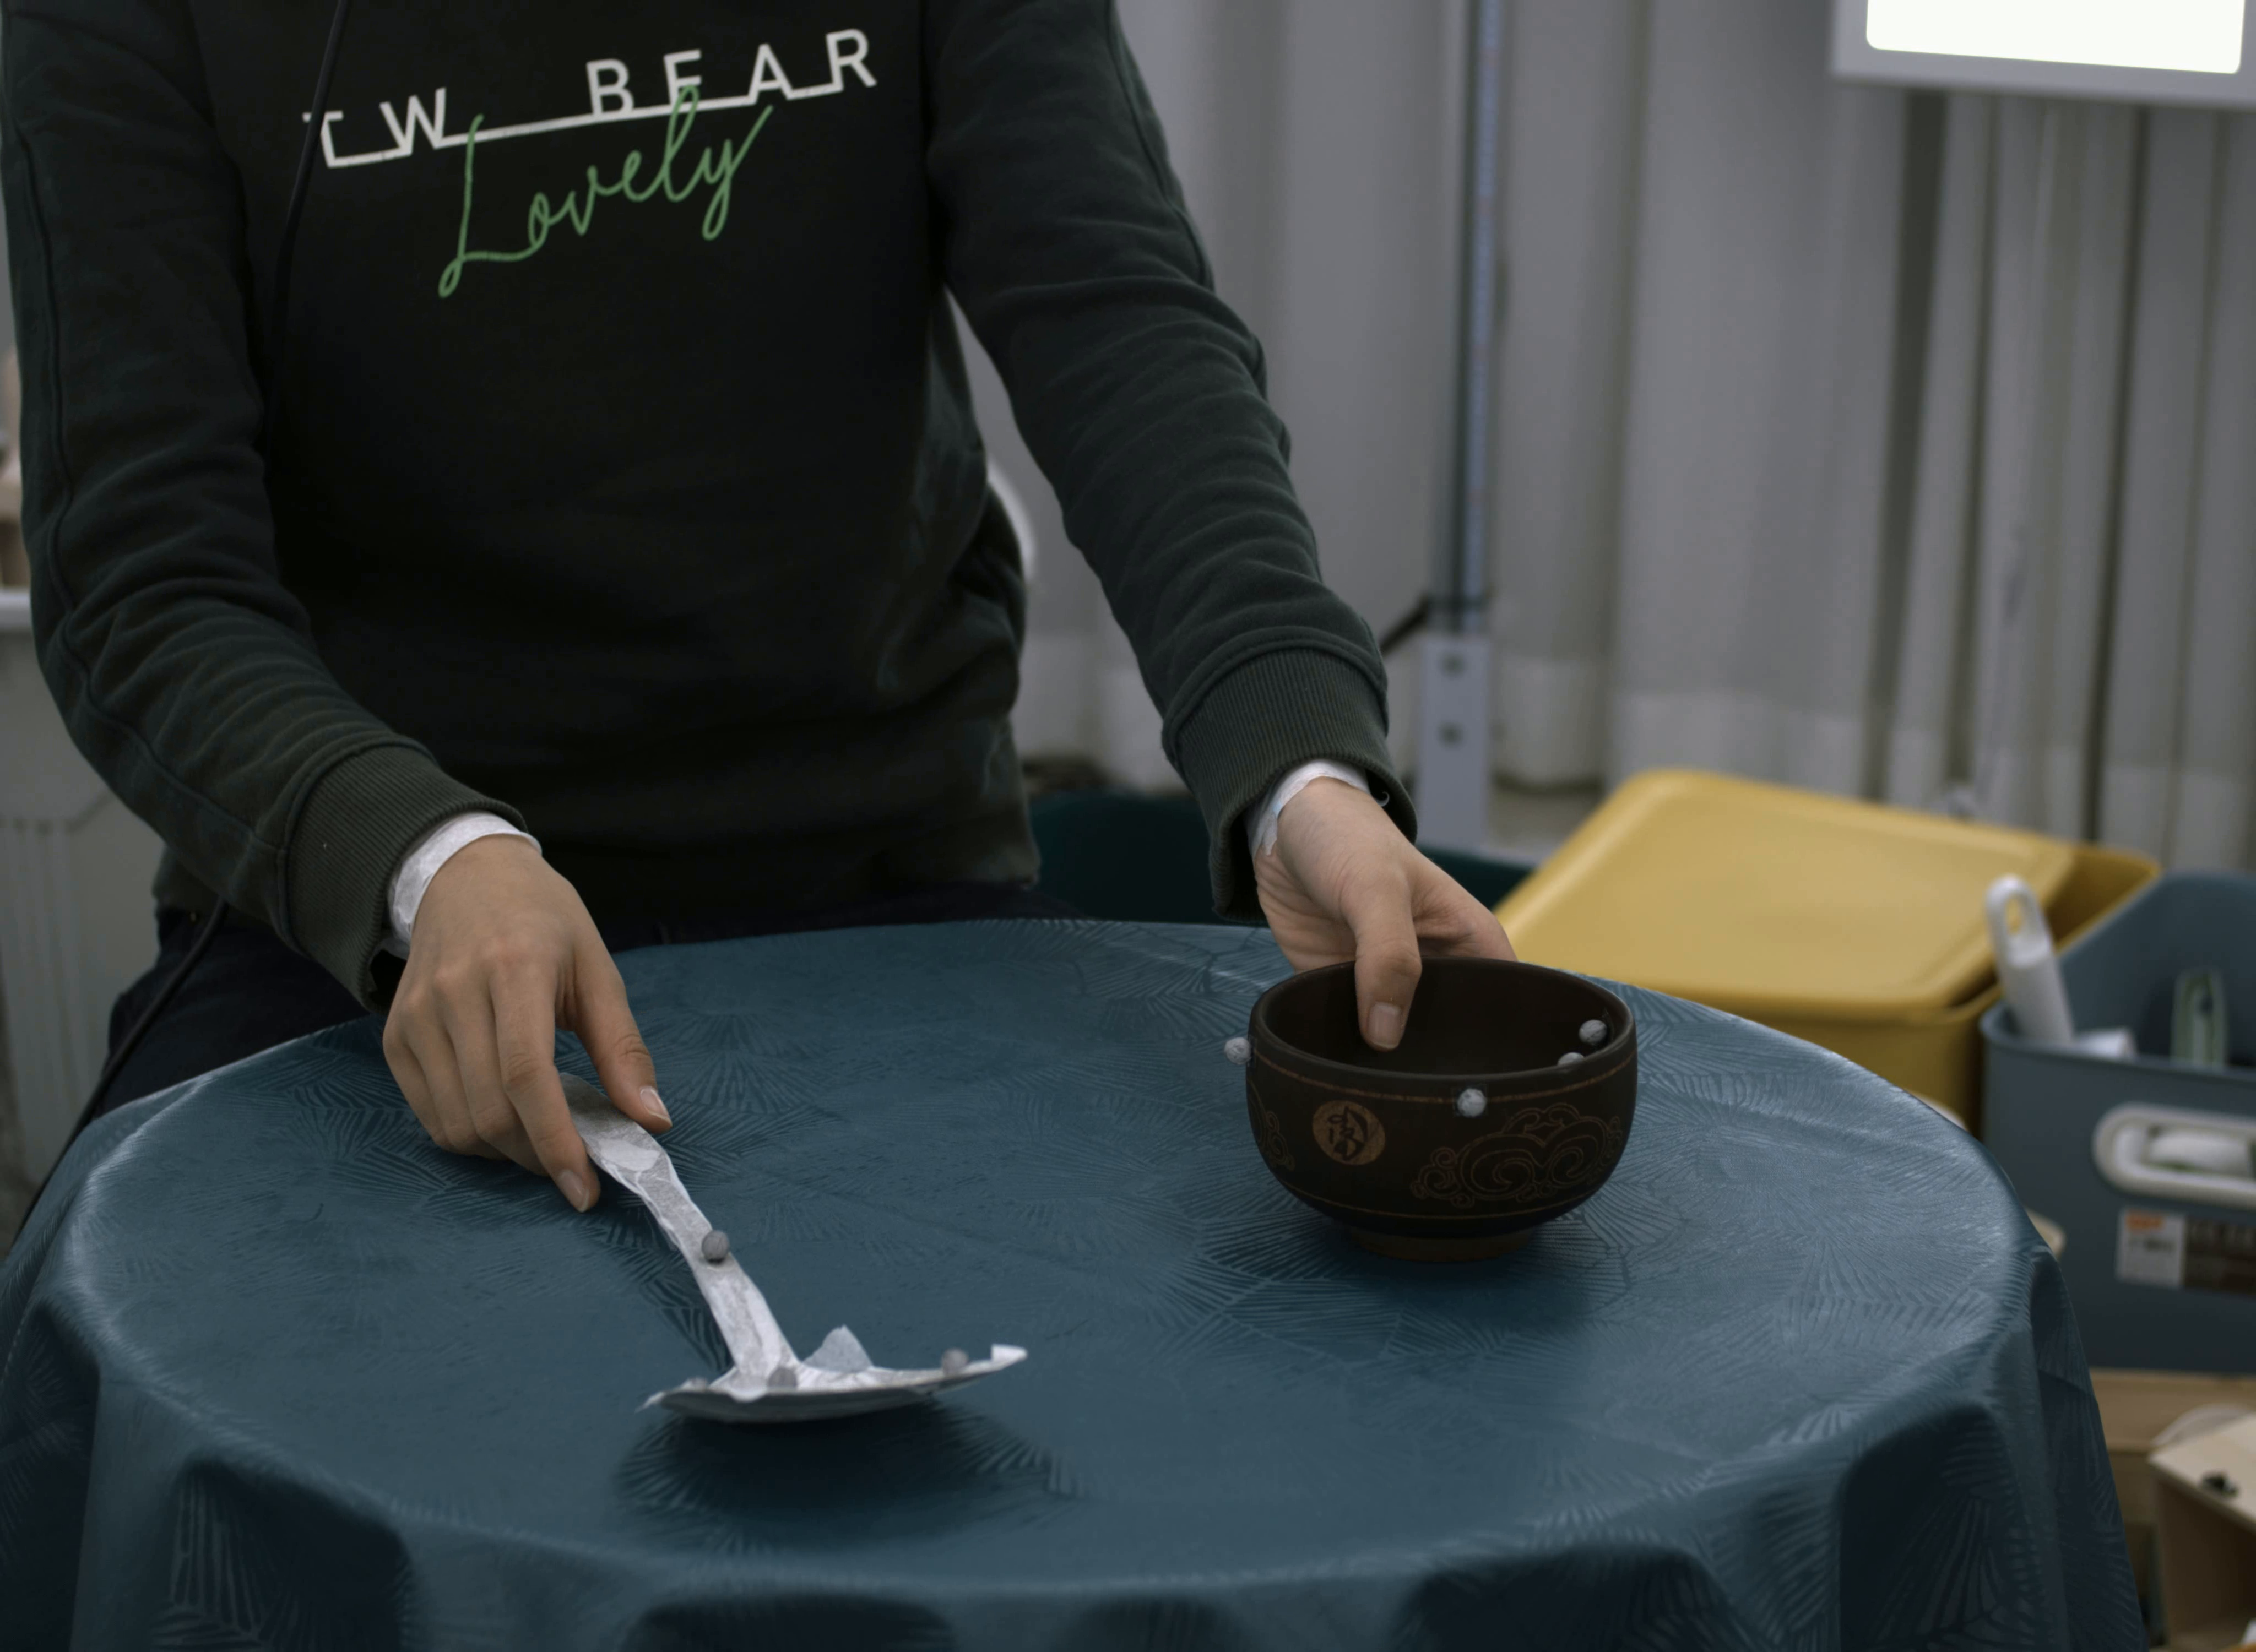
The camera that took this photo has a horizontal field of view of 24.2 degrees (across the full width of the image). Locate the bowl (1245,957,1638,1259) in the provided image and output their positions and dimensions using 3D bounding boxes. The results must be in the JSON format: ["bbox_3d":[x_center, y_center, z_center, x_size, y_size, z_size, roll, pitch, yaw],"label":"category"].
[{"bbox_3d":[0.094,0.088,1.583,0.117,0.070,0.117,2,15,0],"label":"bowl"}]

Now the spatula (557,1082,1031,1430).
[{"bbox_3d":[-0.123,0.116,1.536,0.099,0.045,0.361,-6,18,-18],"label":"spatula"}]
